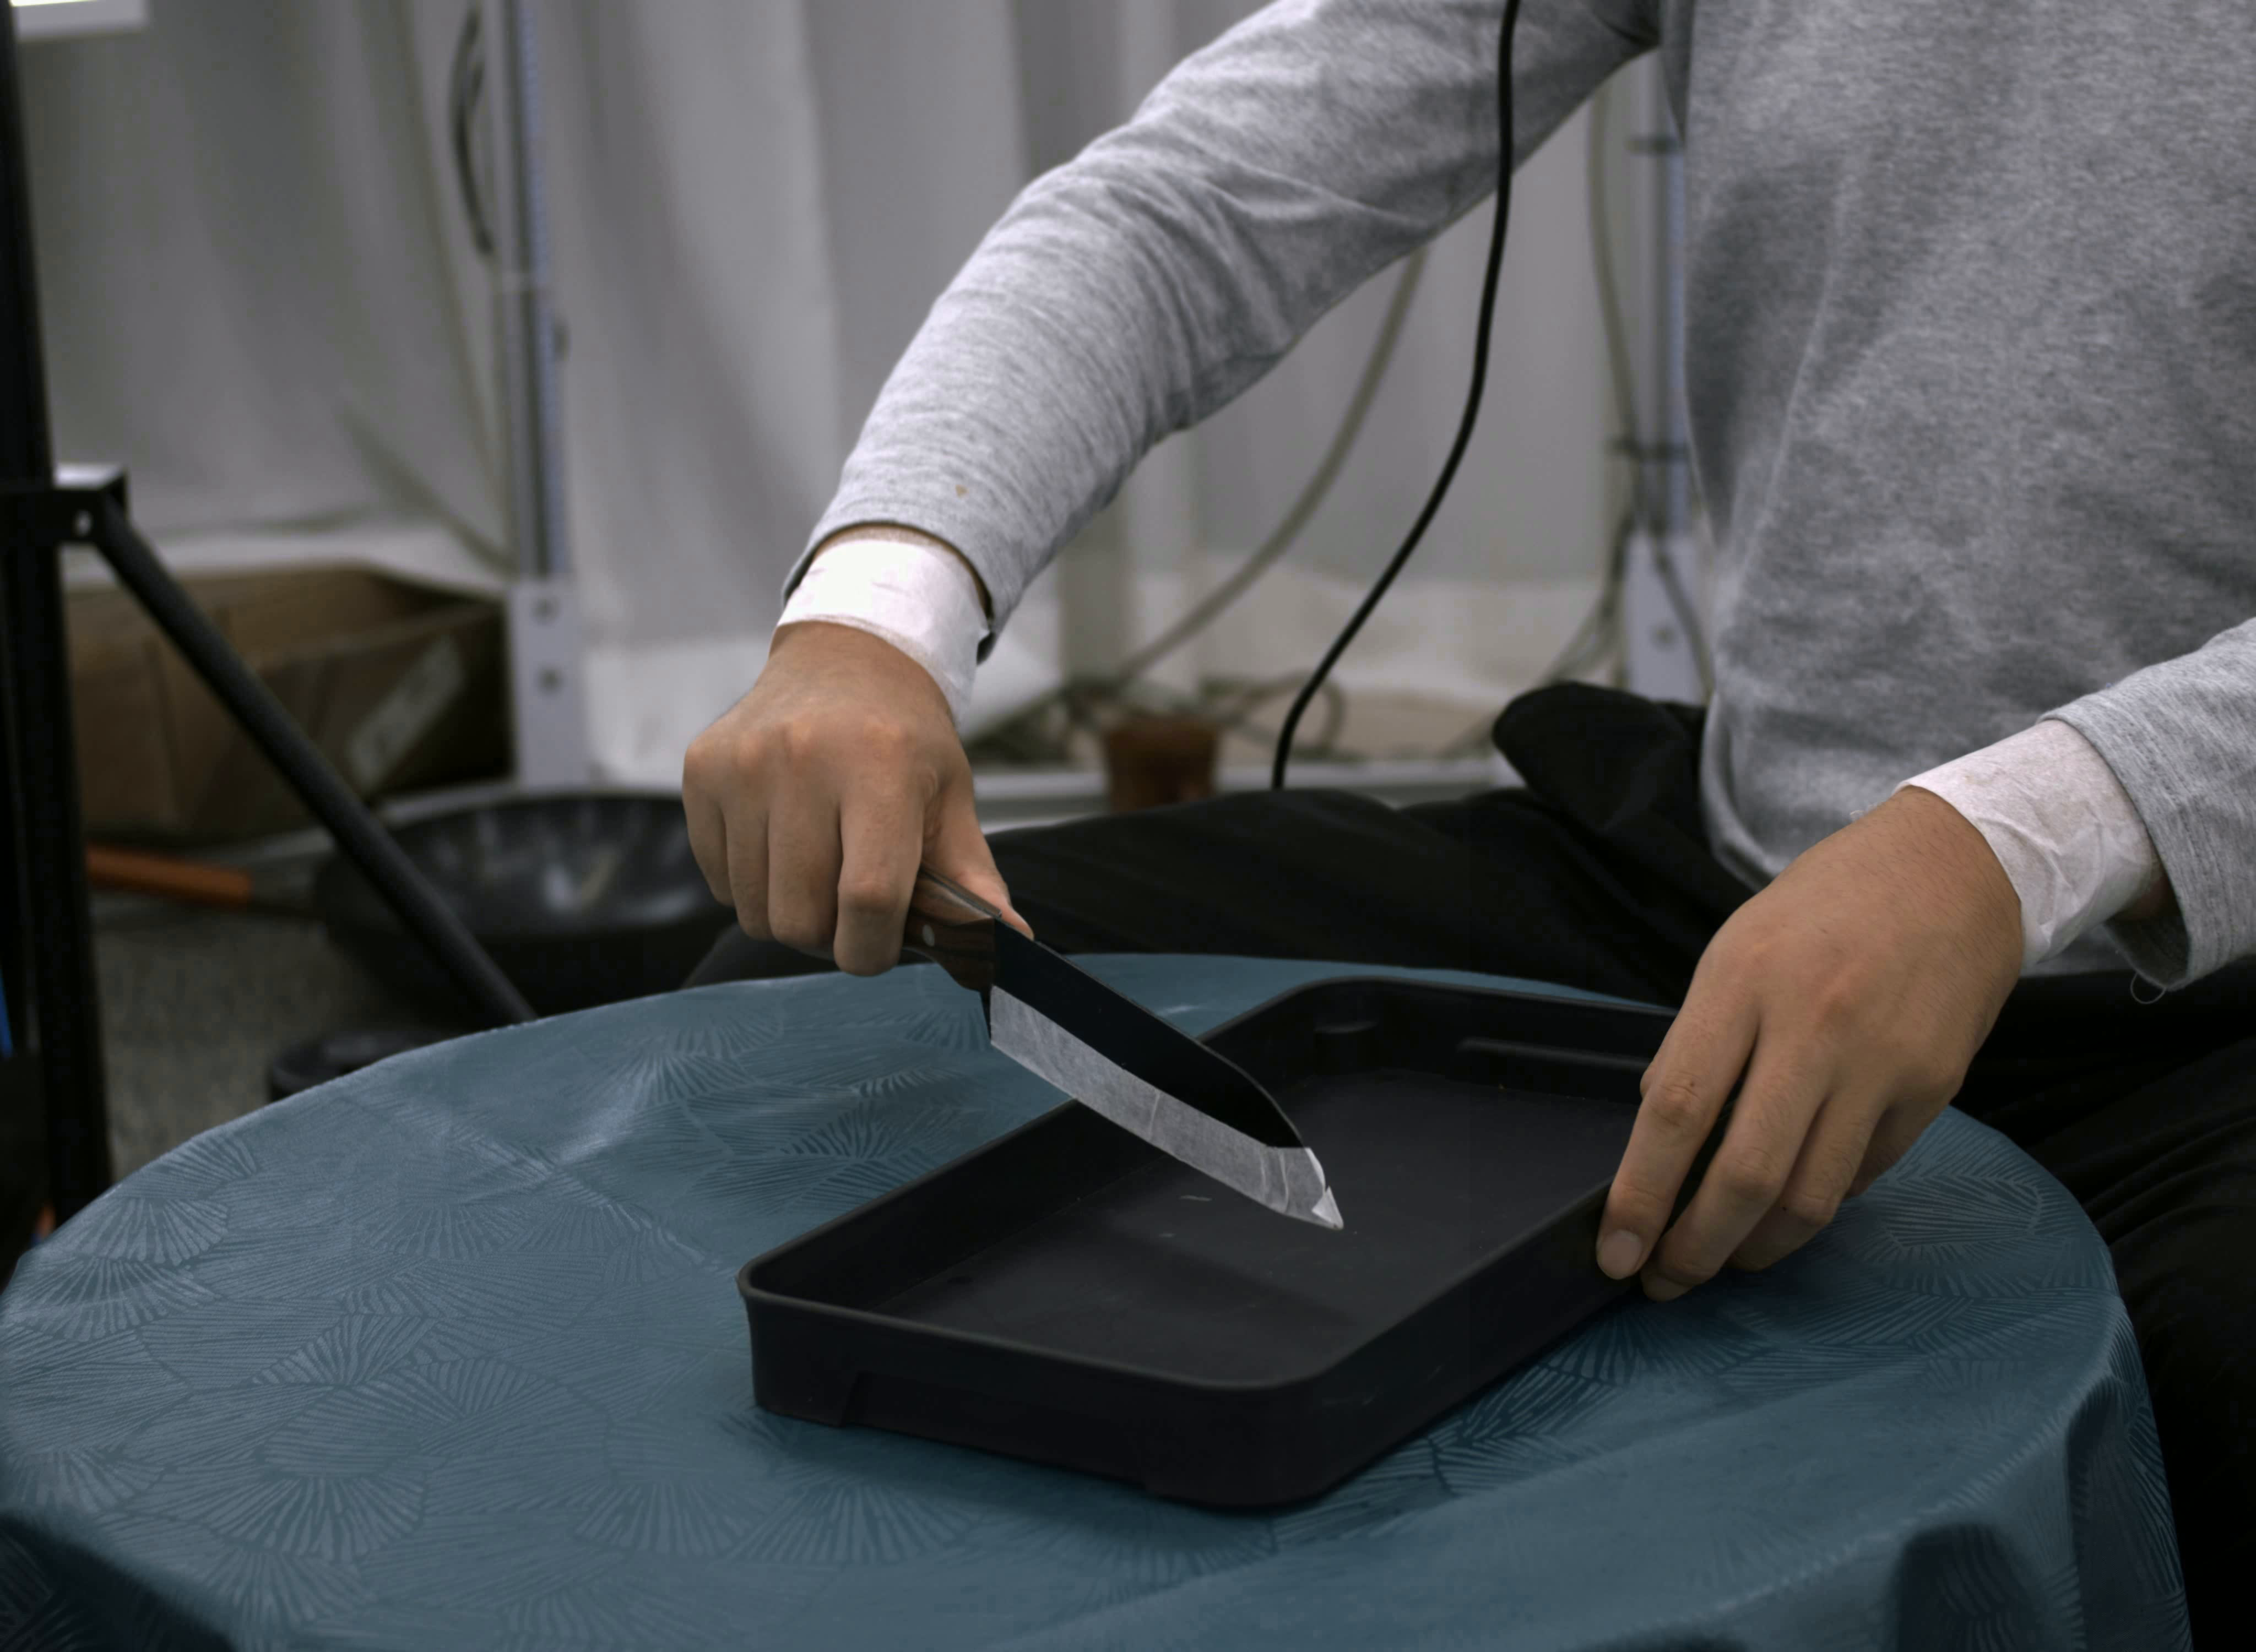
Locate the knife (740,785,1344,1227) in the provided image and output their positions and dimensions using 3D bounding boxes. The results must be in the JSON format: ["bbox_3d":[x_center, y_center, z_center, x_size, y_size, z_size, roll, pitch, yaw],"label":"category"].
[{"bbox_3d":[-0.027,0.050,1.547,0.019,0.050,0.296,-20,34,-30],"label":"knife"}]

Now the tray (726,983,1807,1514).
[{"bbox_3d":[0.047,0.110,1.476,0.188,0.037,0.312,6,18,32],"label":"tray"}]
